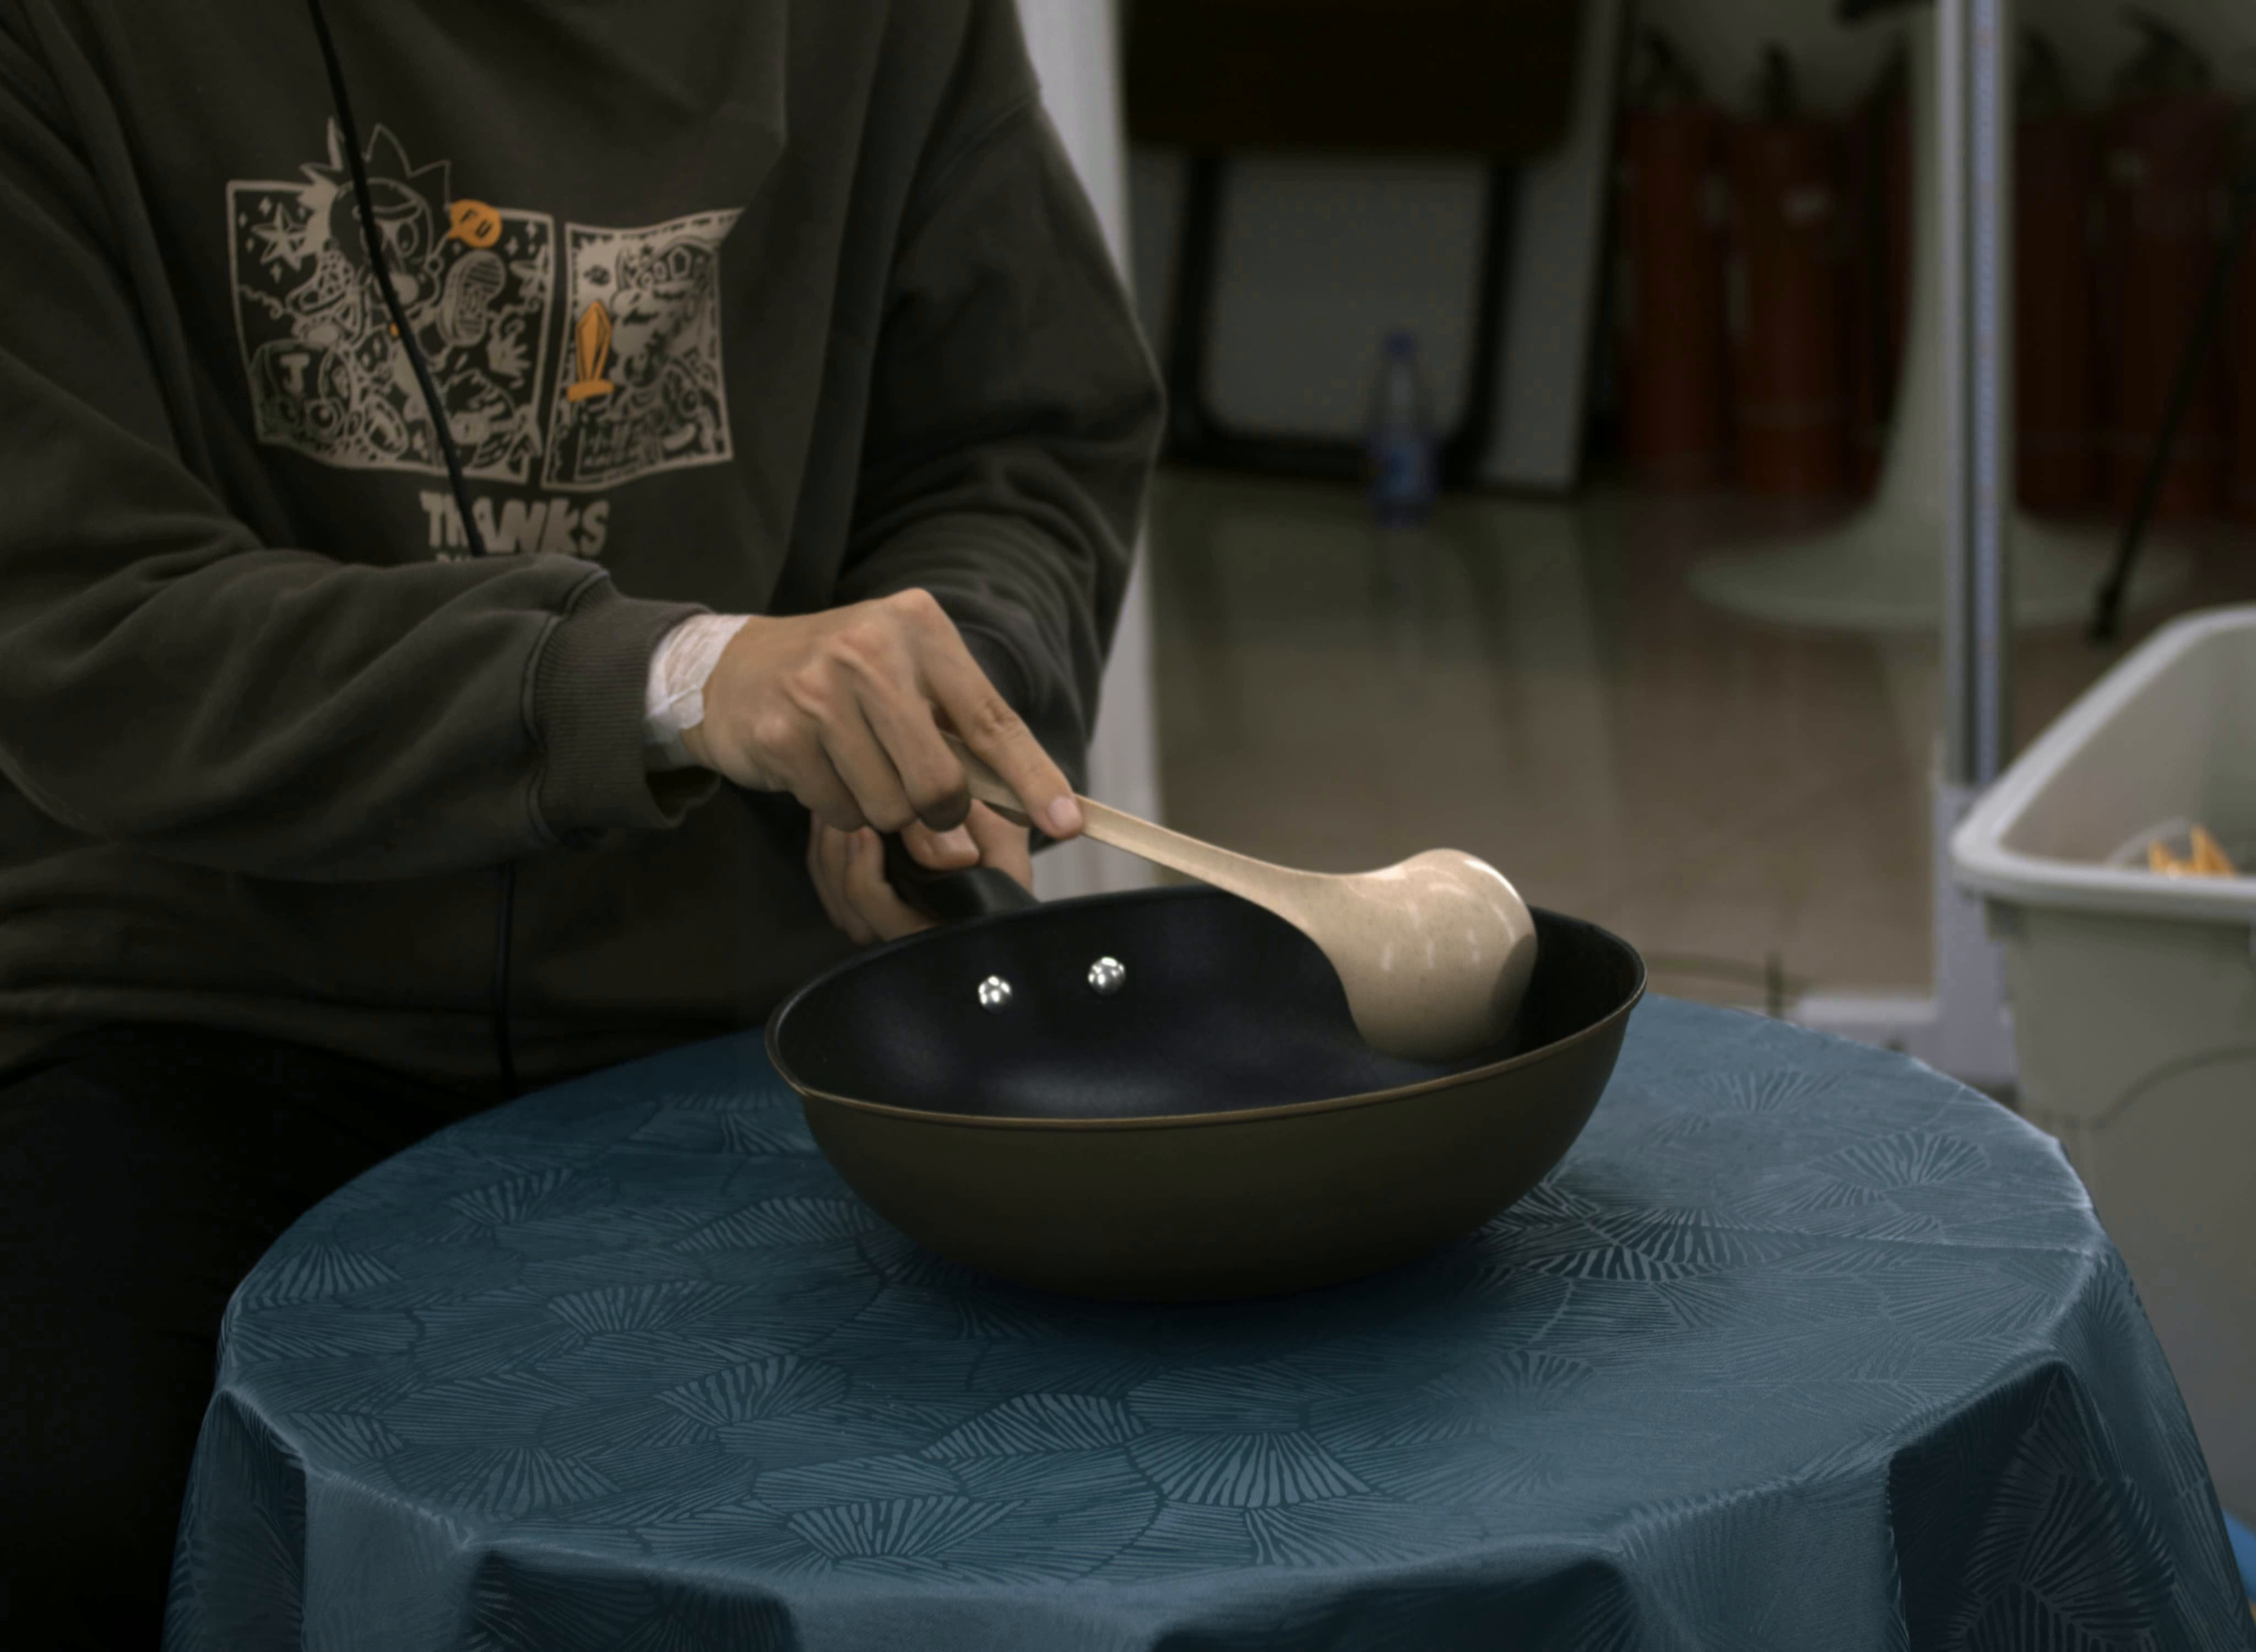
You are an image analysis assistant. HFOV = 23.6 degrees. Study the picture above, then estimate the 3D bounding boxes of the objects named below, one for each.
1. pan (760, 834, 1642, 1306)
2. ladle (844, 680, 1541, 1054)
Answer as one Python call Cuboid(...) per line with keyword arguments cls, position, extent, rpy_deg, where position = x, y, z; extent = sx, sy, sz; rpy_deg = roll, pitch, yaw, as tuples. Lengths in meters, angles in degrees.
Cuboid(cls="pan", position=(-0.011, 0.077, 1.793), extent=(0.282, 0.088, 0.468), rpy_deg=(-10, 13, -22))
Cuboid(cls="ladle", position=(0.022, 0.009, 1.796), extent=(0.256, 0.073, 0.072), rpy_deg=(24, 1, 28))
